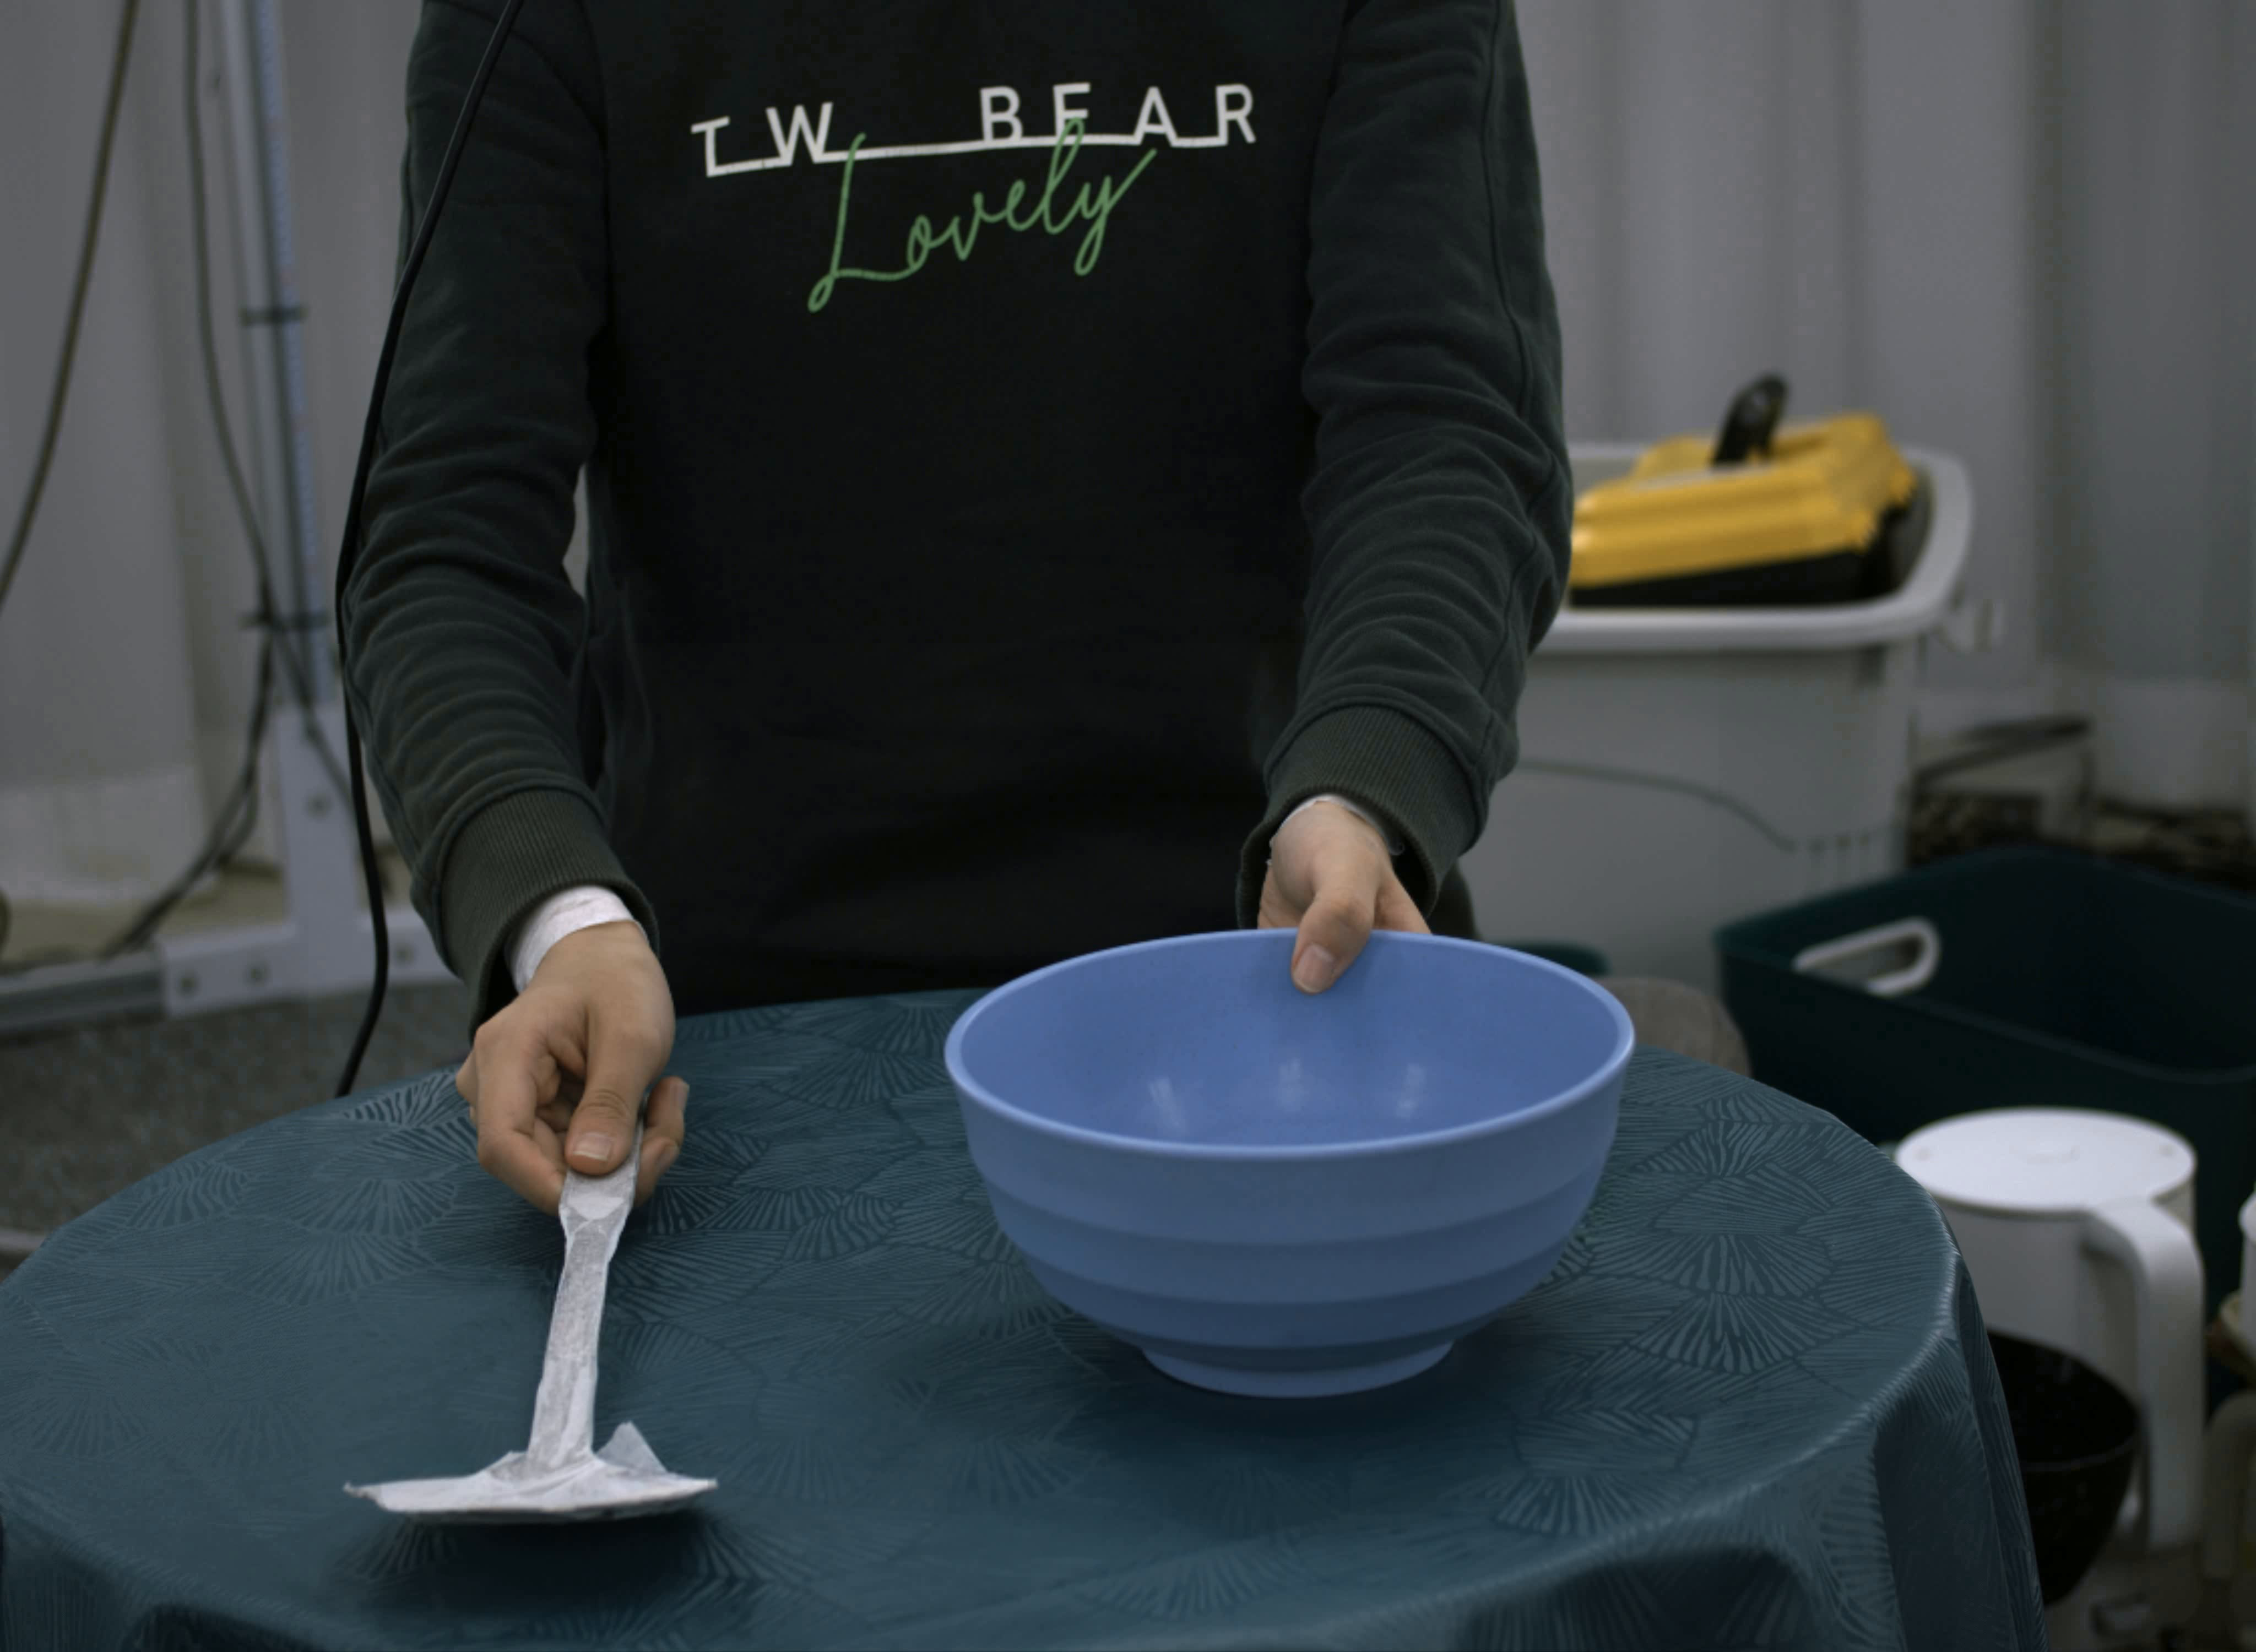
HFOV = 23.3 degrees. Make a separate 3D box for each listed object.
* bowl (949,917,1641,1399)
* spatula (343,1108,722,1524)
[{"bbox_3d":[0.048,0.102,1.562,0.196,0.095,0.198,-2,18,0],"label":"bowl"},{"bbox_3d":[-0.154,0.133,1.574,0.098,0.044,0.368,-2,19,1],"label":"spatula"}]
